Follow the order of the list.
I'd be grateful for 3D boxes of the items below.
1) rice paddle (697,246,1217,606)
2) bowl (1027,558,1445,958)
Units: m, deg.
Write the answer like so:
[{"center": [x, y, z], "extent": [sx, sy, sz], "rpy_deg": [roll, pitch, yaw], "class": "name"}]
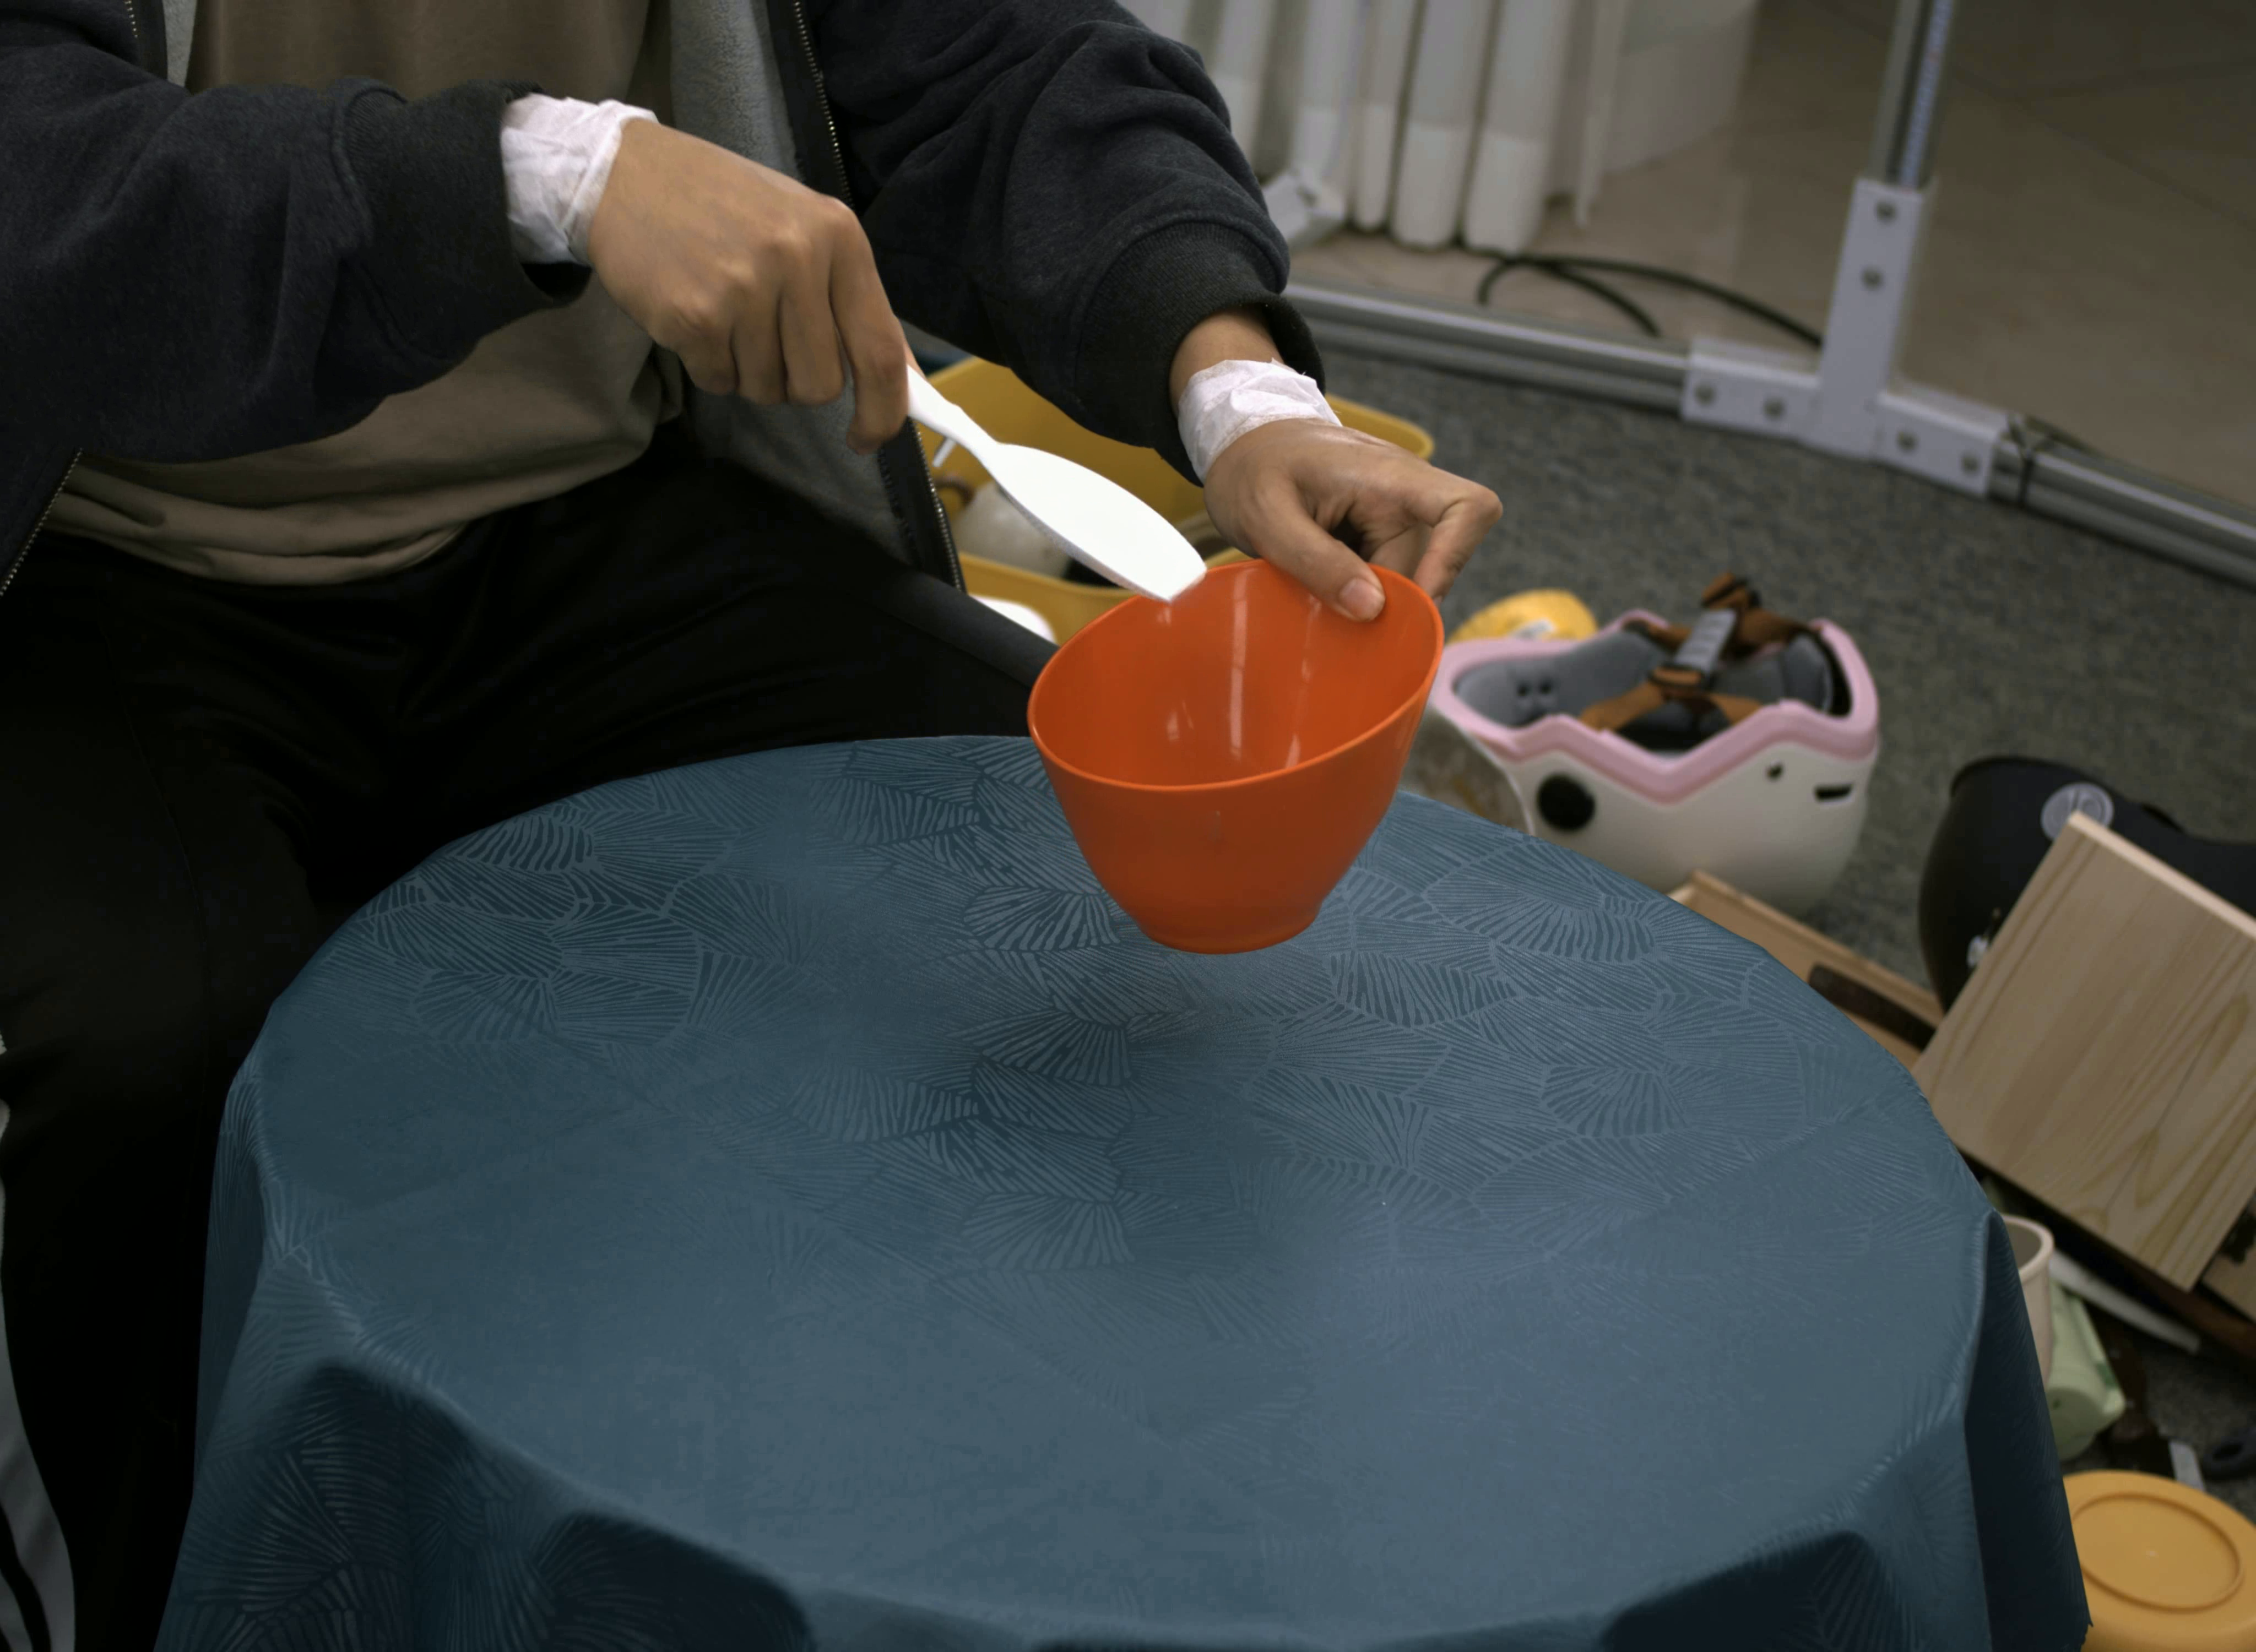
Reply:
[{"center": [-0.054, -0.134, 1.834], "extent": [0.204, 0.029, 0.069], "rpy_deg": [31, 26, -10], "class": "rice paddle"}, {"center": [0.041, -0.018, 1.872], "extent": [0.147, 0.104, 0.149], "rpy_deg": [-4, 28, 2], "class": "bowl"}]
